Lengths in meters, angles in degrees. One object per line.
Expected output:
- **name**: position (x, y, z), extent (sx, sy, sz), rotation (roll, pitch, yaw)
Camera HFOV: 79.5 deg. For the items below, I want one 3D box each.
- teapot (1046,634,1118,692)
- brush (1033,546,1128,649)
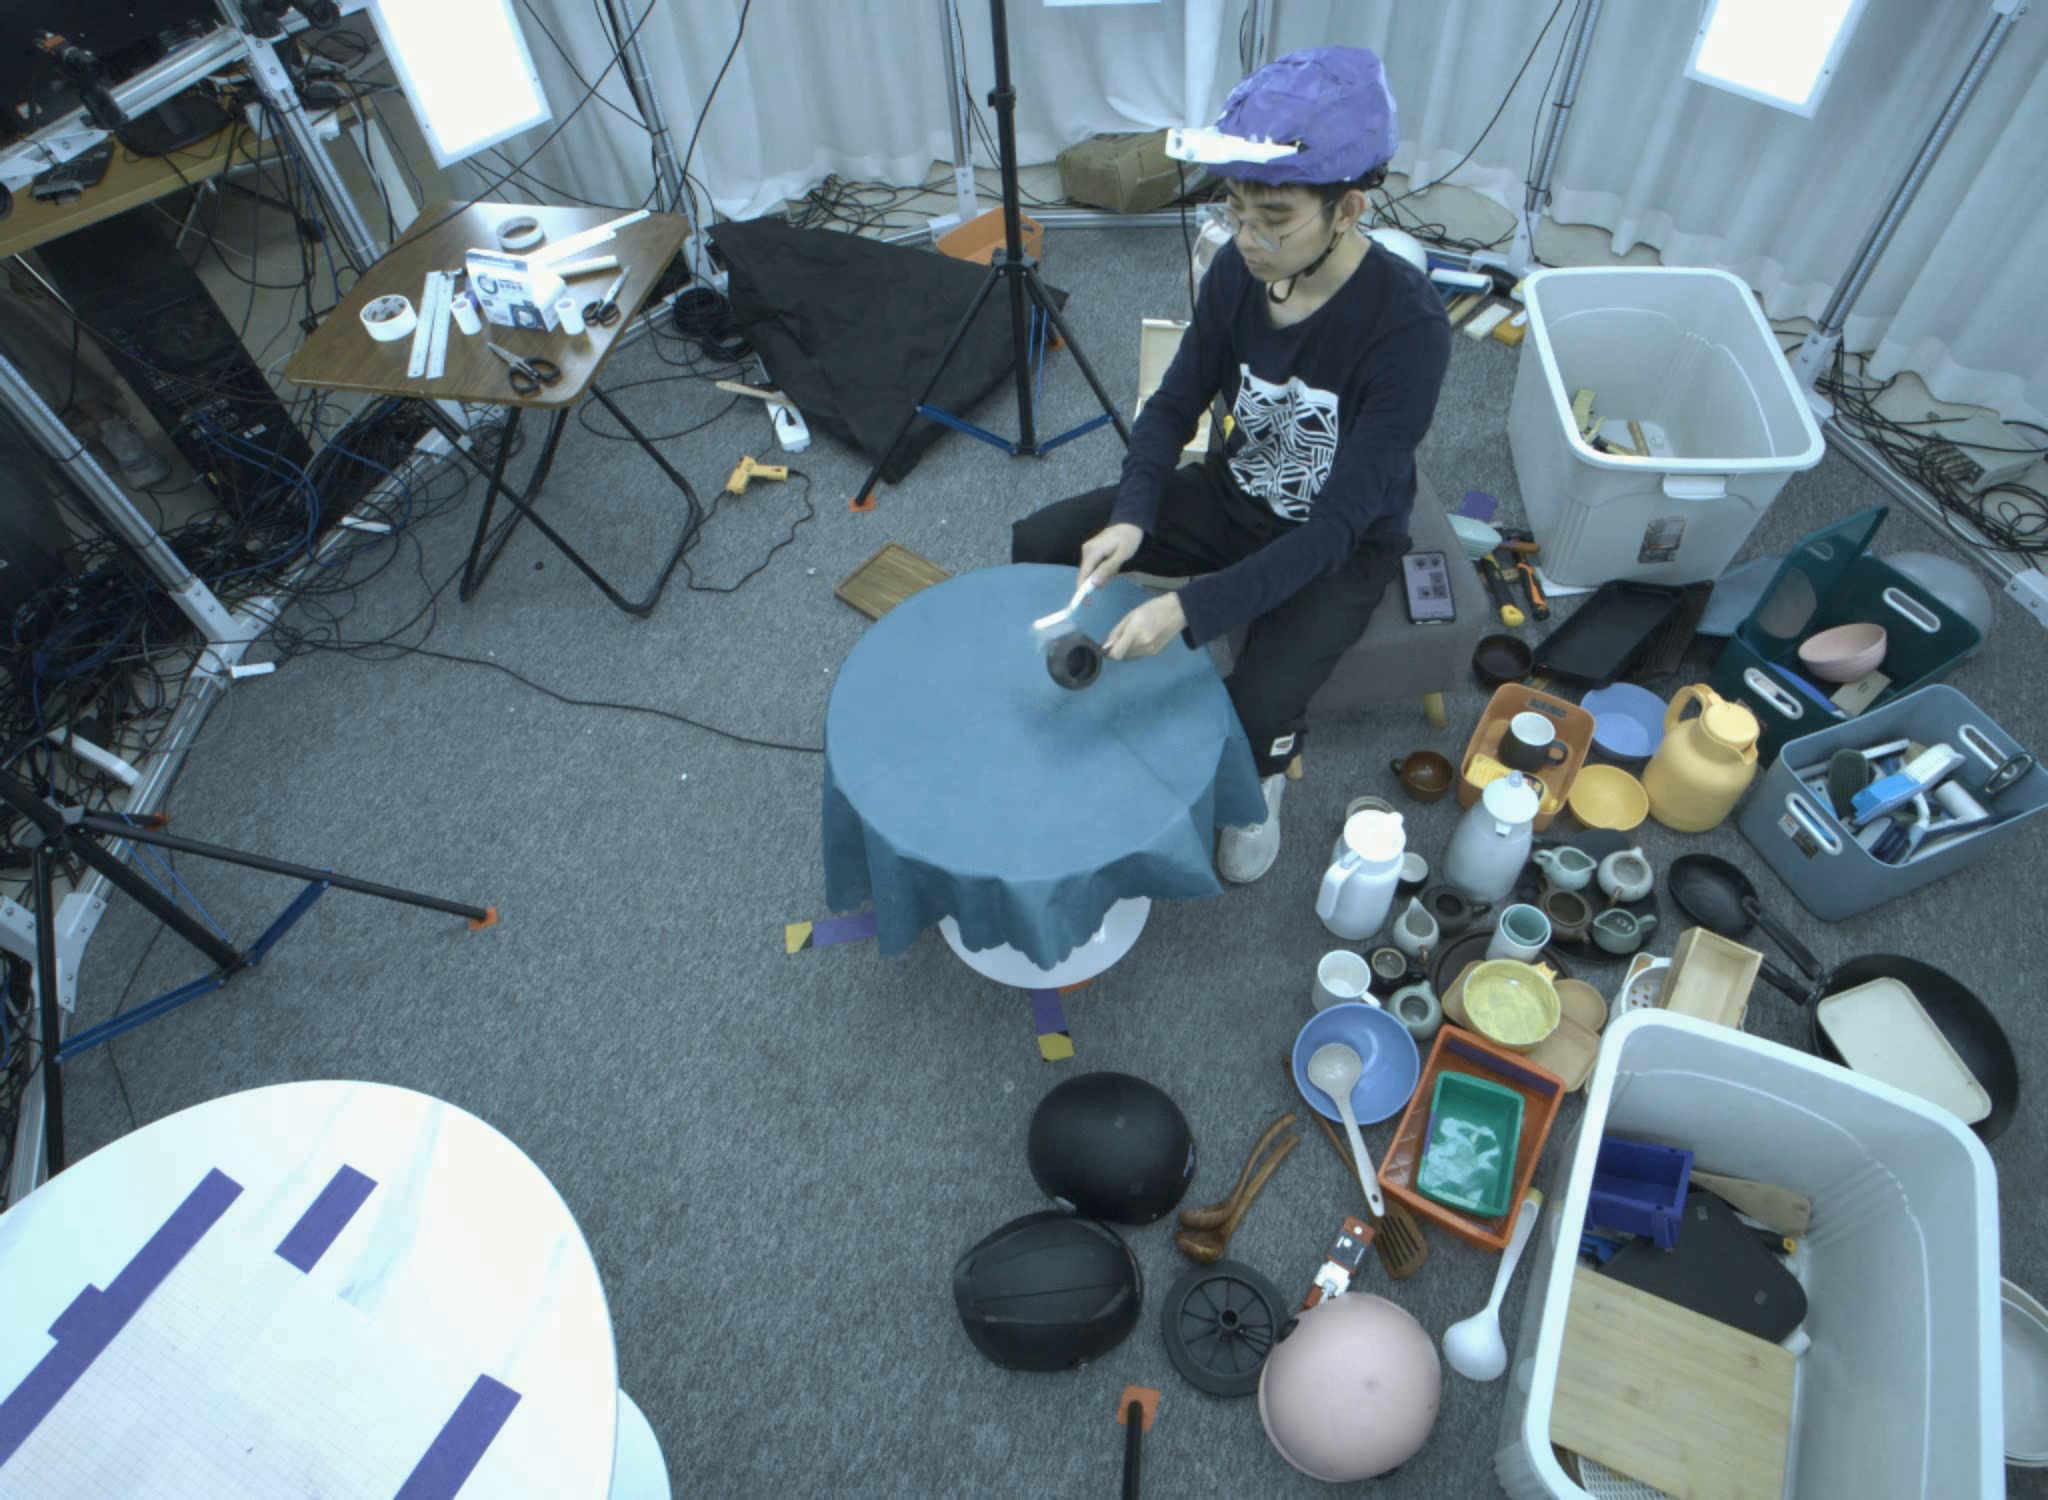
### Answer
- **teapot**: position (0.083, -0.128, 1.749), extent (0.115, 0.084, 0.052), rotation (-24, 17, -16)
- **brush**: position (0.098, -0.226, 1.811), extent (0.050, 0.034, 0.245), rotation (41, 55, 7)
